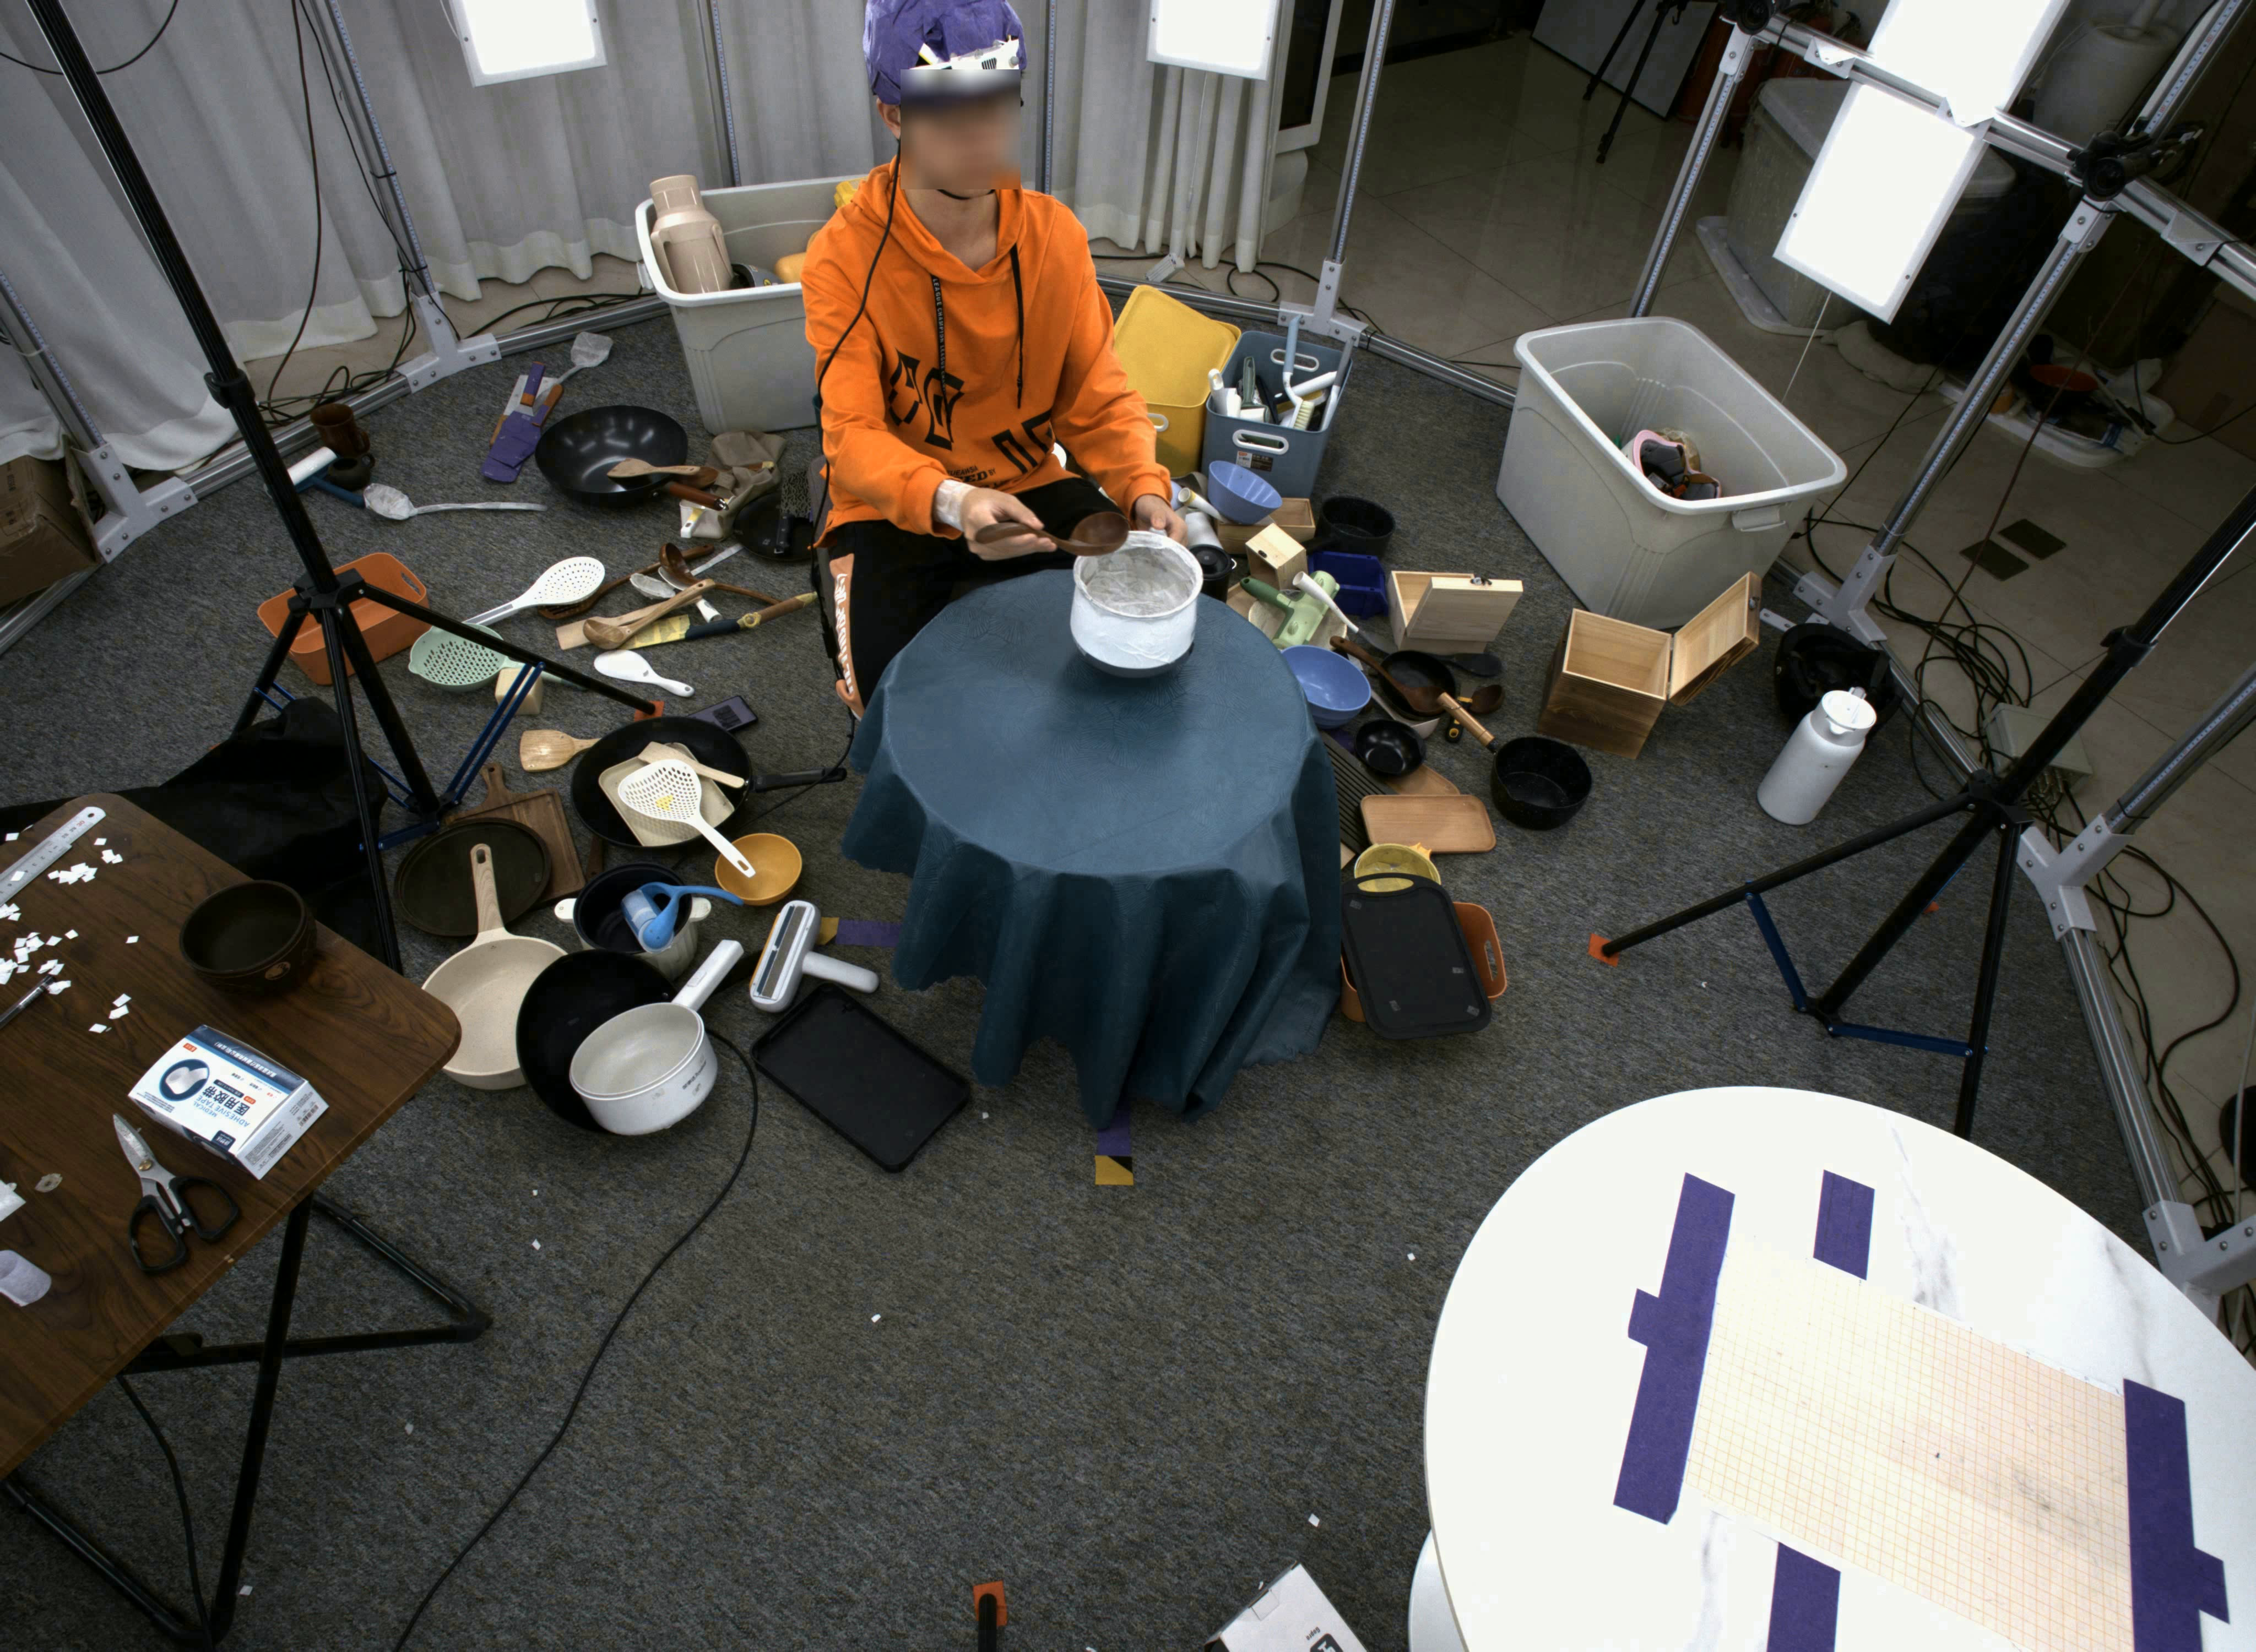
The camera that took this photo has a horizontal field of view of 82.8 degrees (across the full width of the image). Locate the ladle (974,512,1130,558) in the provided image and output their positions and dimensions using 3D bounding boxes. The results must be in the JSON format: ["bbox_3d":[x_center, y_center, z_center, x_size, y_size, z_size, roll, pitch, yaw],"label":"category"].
[{"bbox_3d":[-0.094,-0.381,1.639,0.077,0.064,0.259,23,18,36],"label":"ladle"}]

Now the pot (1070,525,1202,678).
[{"bbox_3d":[0.015,-0.327,1.818,0.179,0.133,0.239,14,51,6],"label":"pot"}]
